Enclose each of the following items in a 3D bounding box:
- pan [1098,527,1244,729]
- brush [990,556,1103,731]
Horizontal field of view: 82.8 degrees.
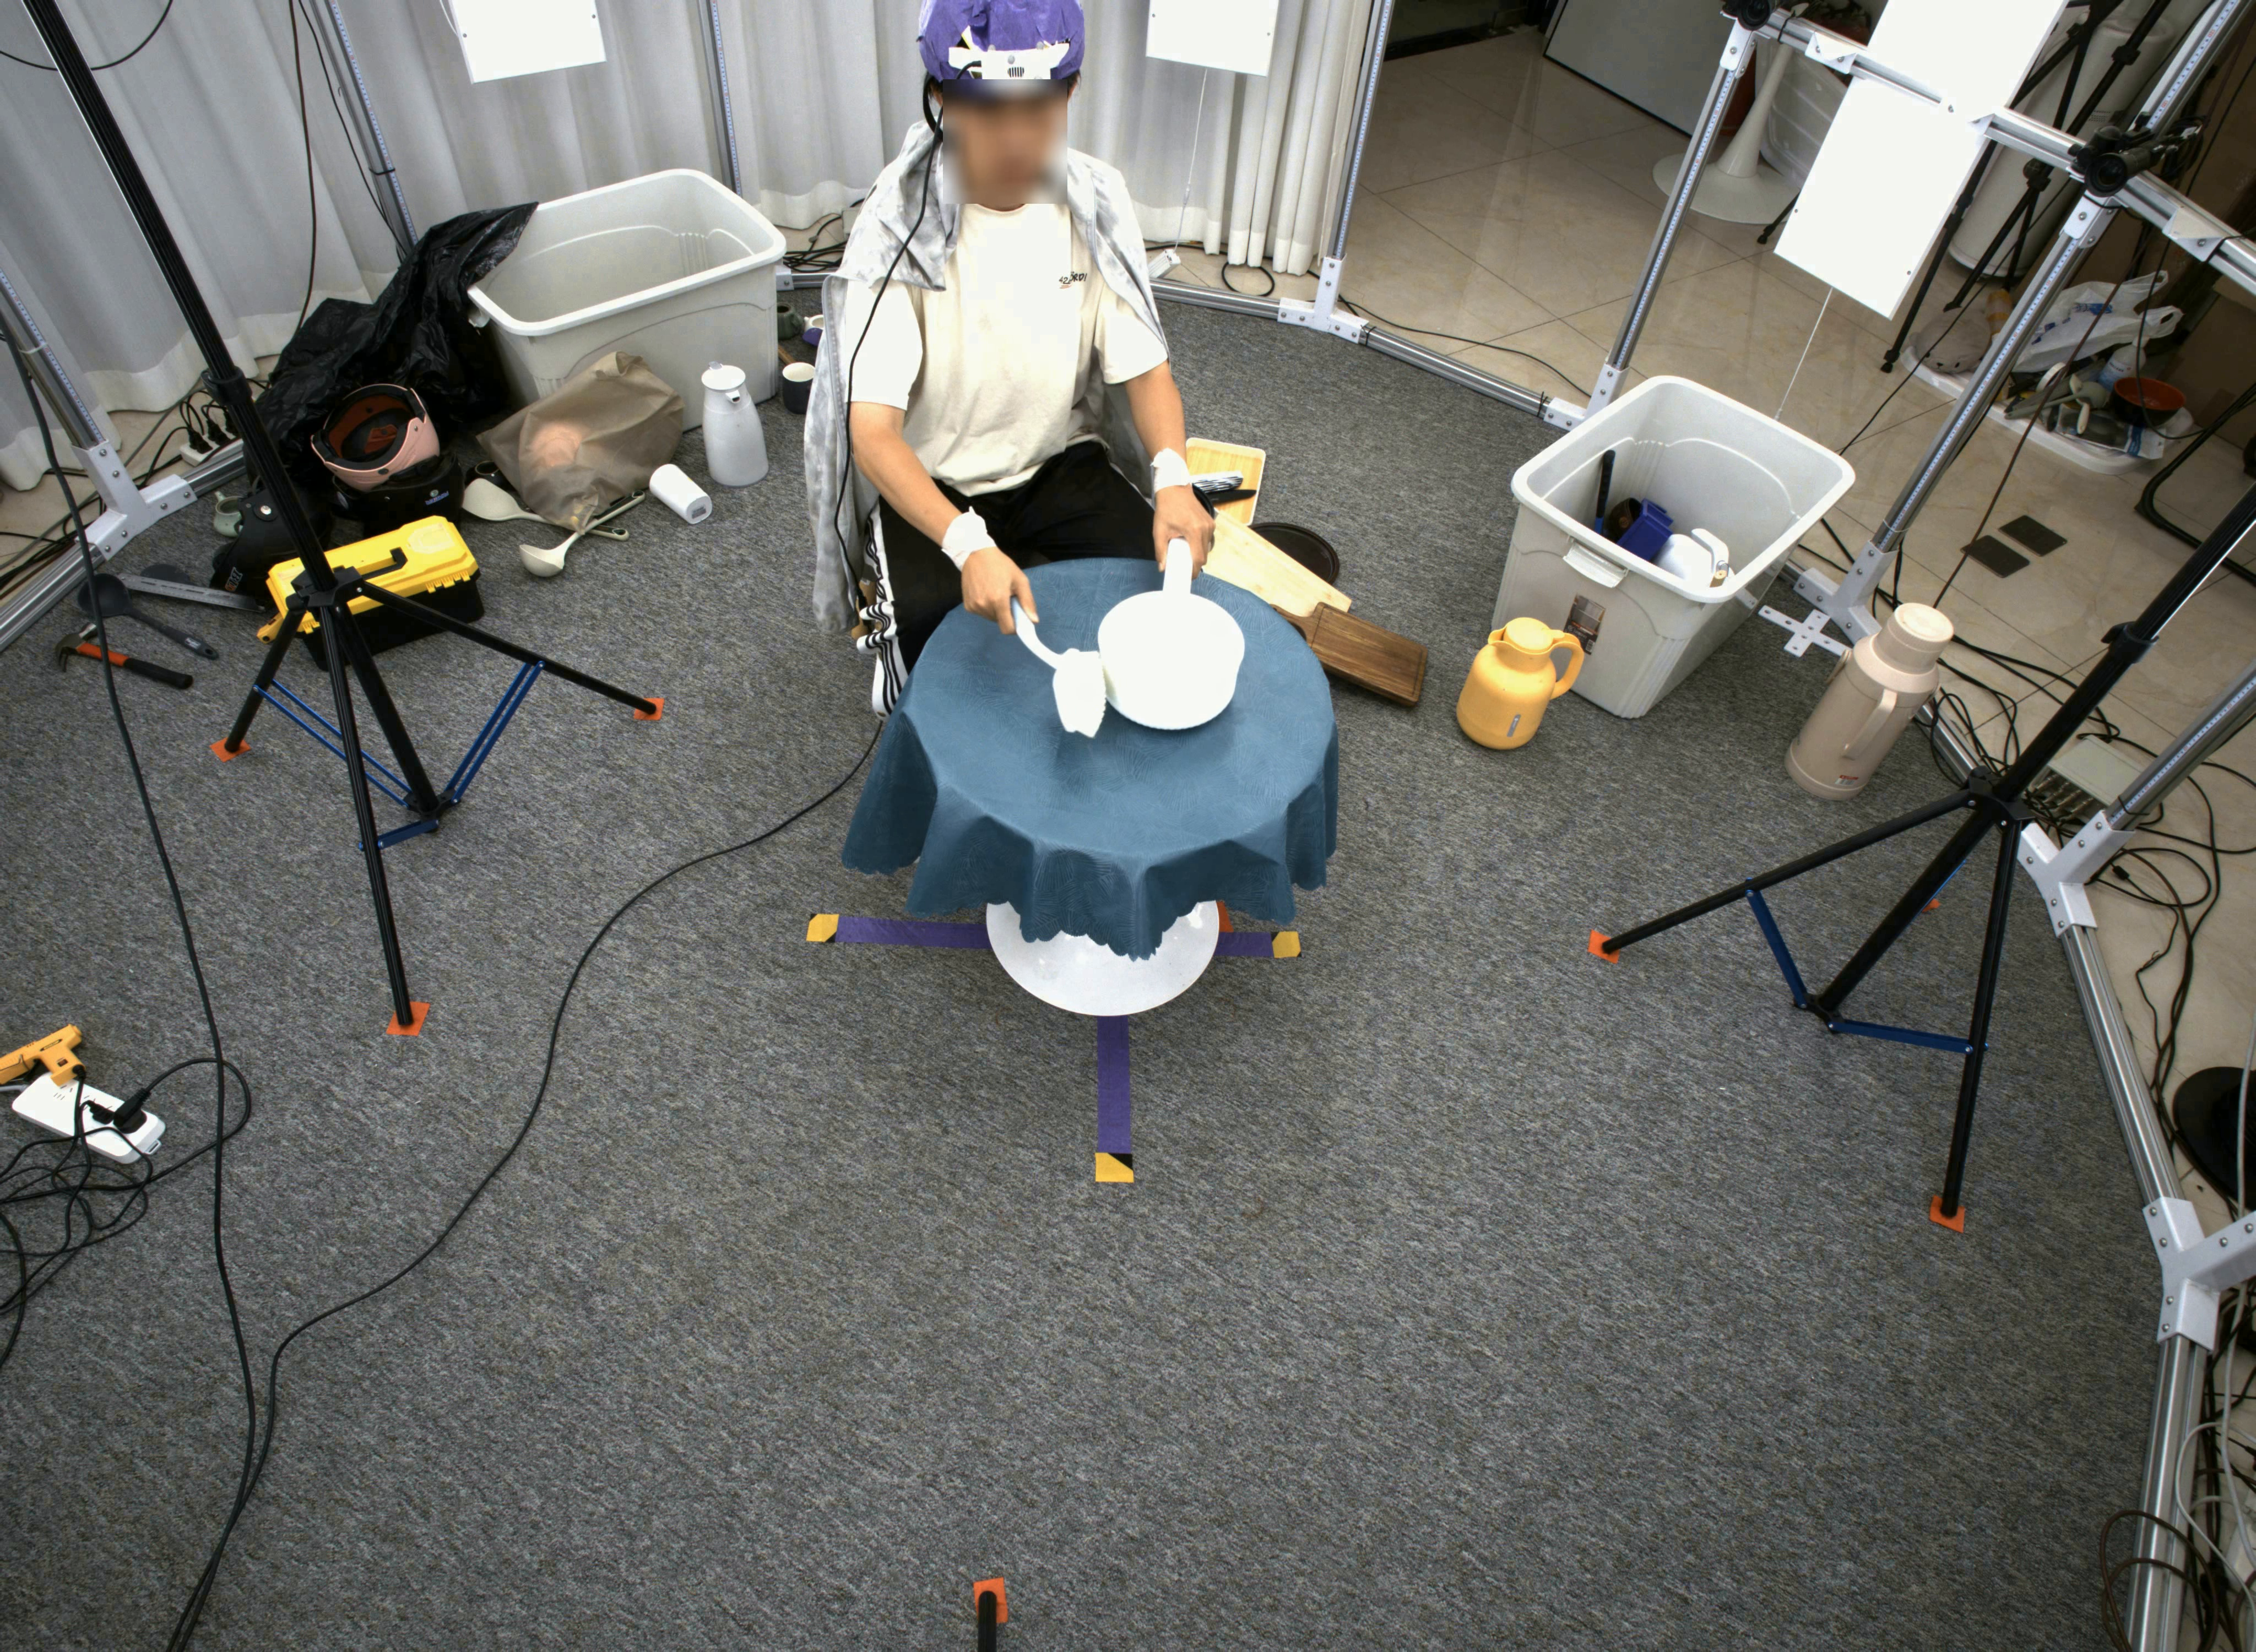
[{"bbox_3d":[0.064,-0.286,1.850,0.201,0.099,0.363,6,48,2],"label":"pan"},{"bbox_3d":[-0.098,-0.260,1.773,0.083,0.083,0.333,-33,56,12],"label":"brush"}]
